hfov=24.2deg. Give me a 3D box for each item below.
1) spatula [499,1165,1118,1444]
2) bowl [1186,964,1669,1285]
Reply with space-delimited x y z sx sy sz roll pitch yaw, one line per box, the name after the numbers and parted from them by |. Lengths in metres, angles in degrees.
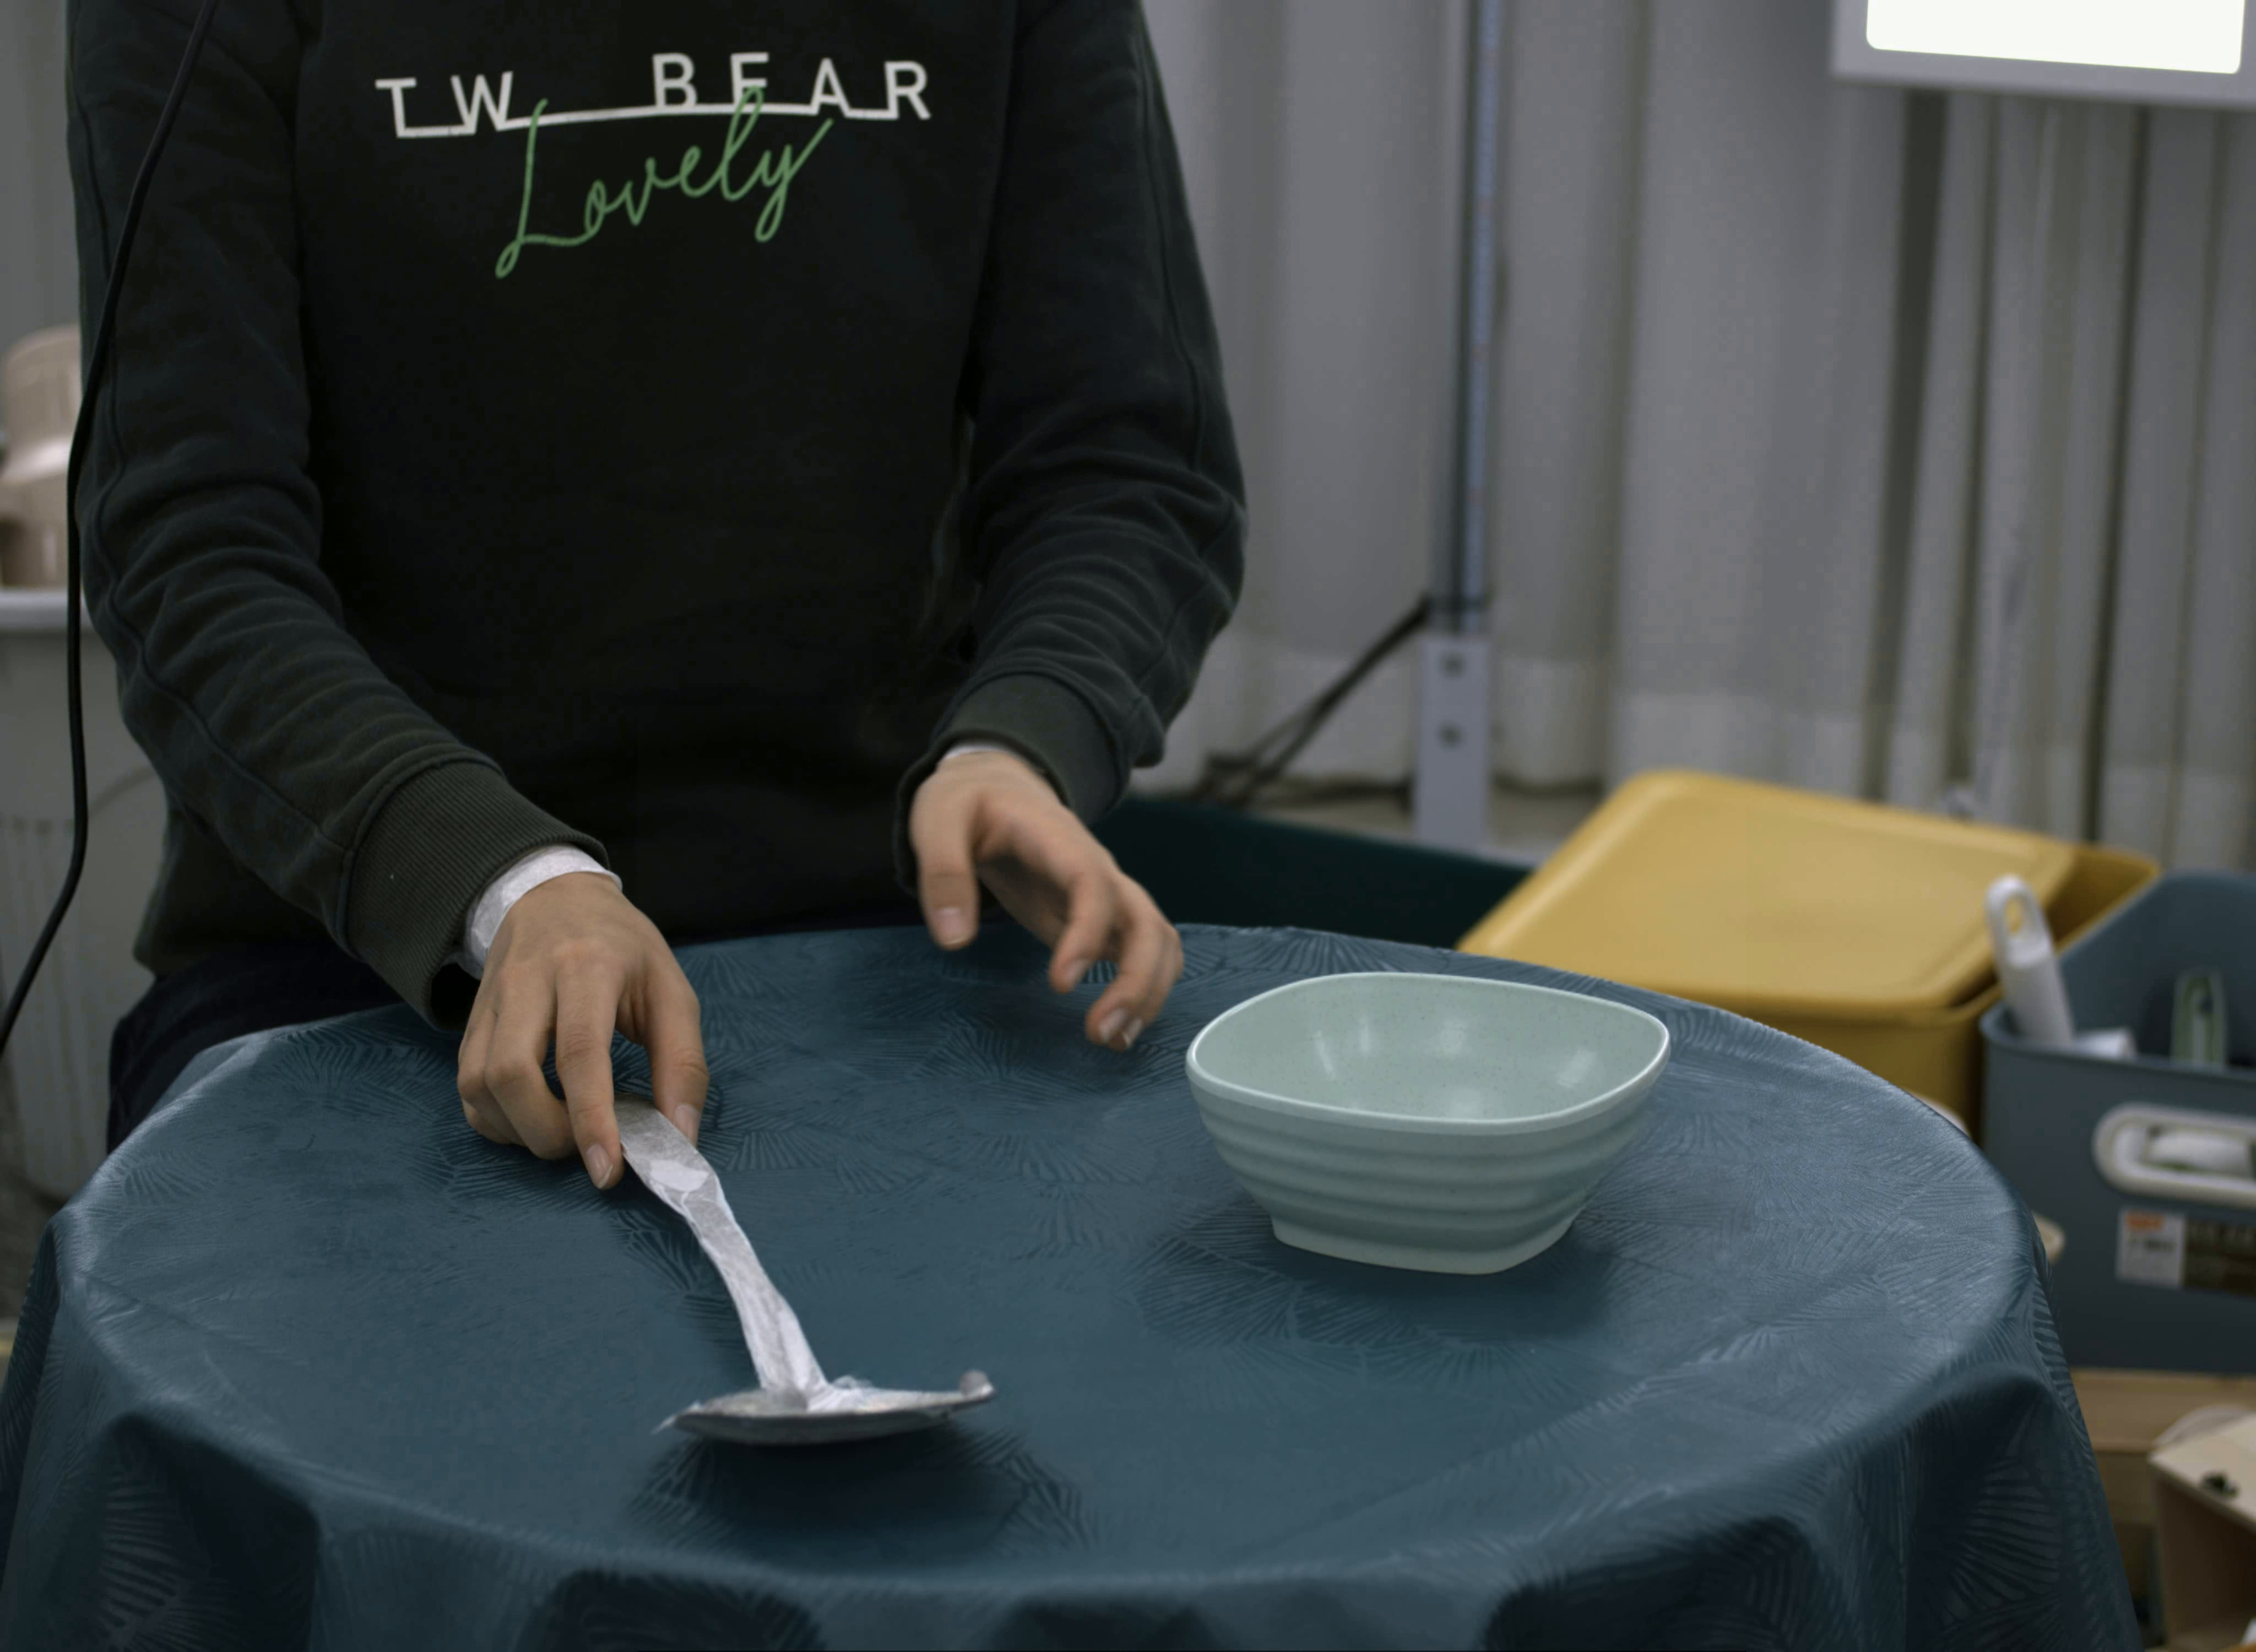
-0.117 0.126 1.503 0.099 0.045 0.361 10 7 -27 | spatula
0.090 0.094 1.595 0.151 0.059 0.150 2 18 0 | bowl
